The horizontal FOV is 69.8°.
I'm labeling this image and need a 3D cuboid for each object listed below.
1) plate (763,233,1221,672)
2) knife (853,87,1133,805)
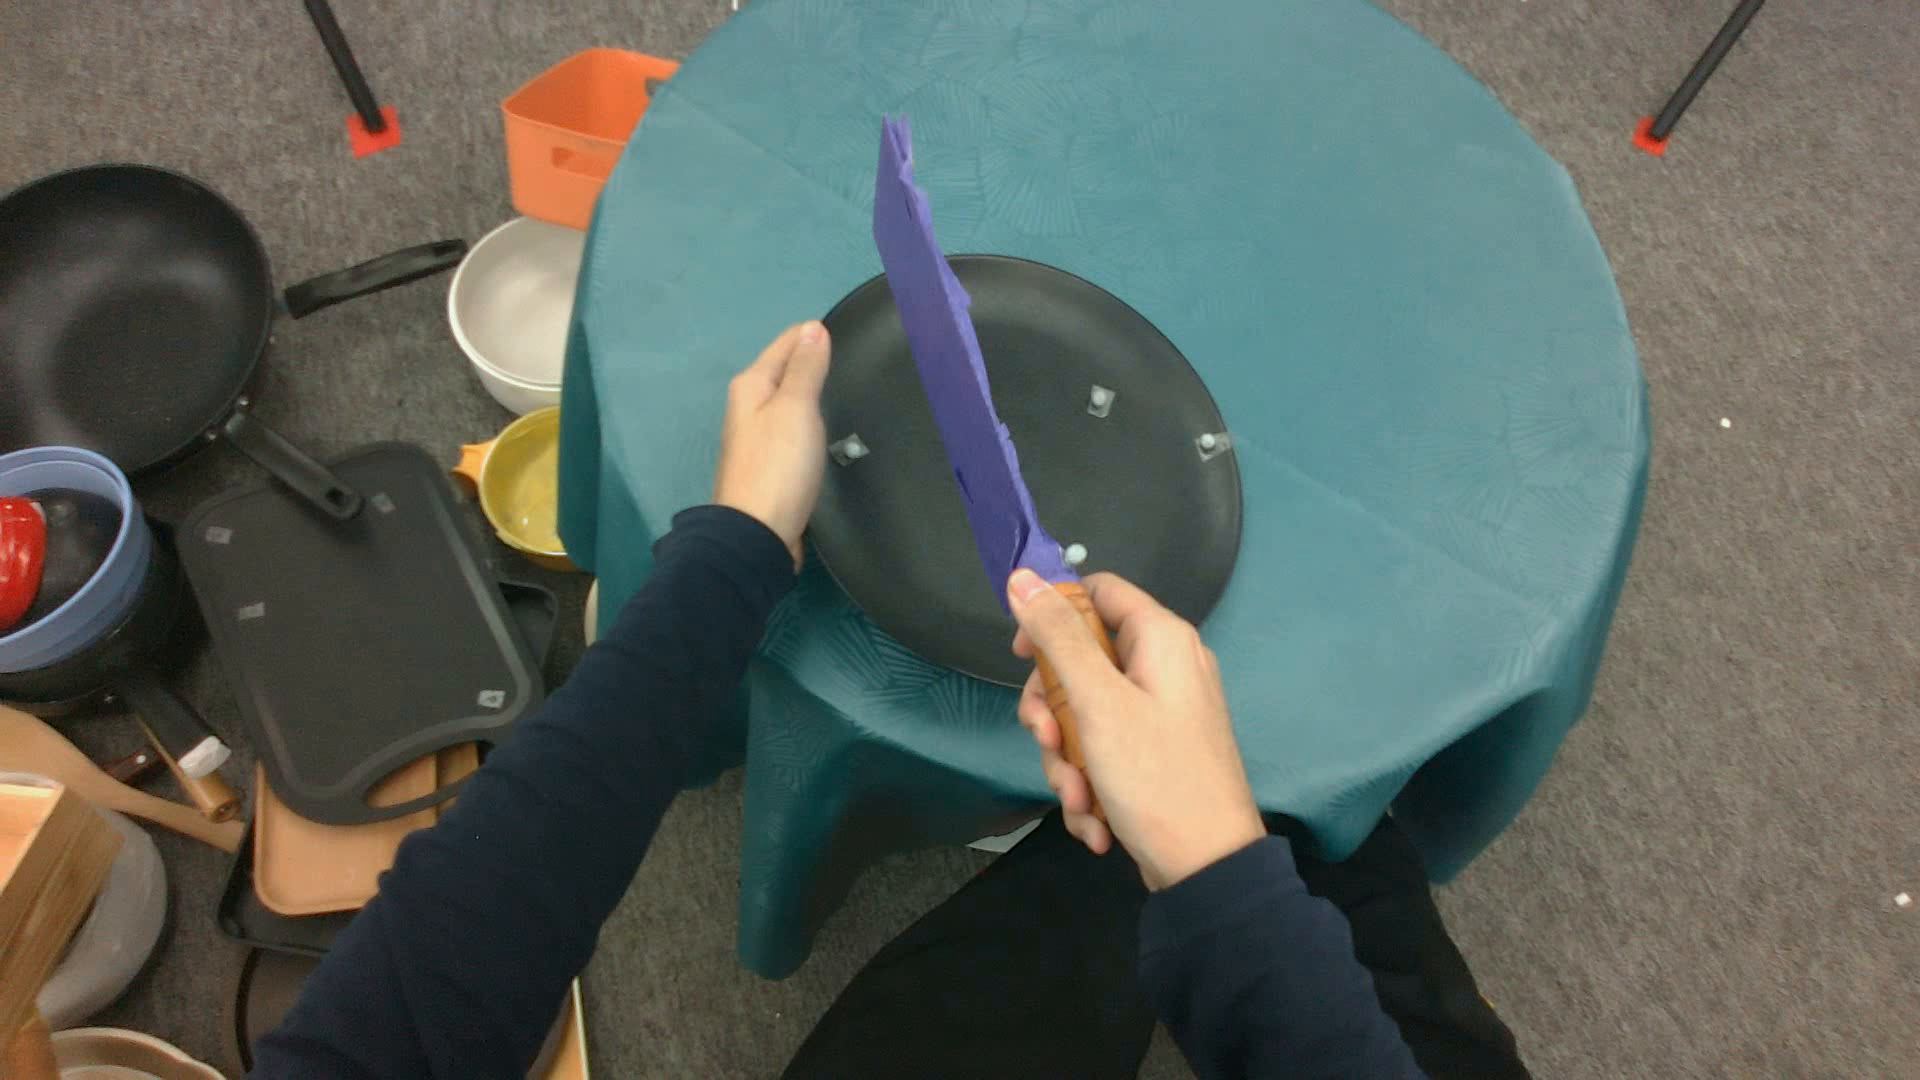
[{"bbox_3d":[0.019,-0.047,0.694,0.244,0.023,0.245,8,64,-18],"label":"plate"},{"bbox_3d":[0.005,-0.037,0.588,0.032,0.103,0.316,-12,71,-12],"label":"knife"}]
